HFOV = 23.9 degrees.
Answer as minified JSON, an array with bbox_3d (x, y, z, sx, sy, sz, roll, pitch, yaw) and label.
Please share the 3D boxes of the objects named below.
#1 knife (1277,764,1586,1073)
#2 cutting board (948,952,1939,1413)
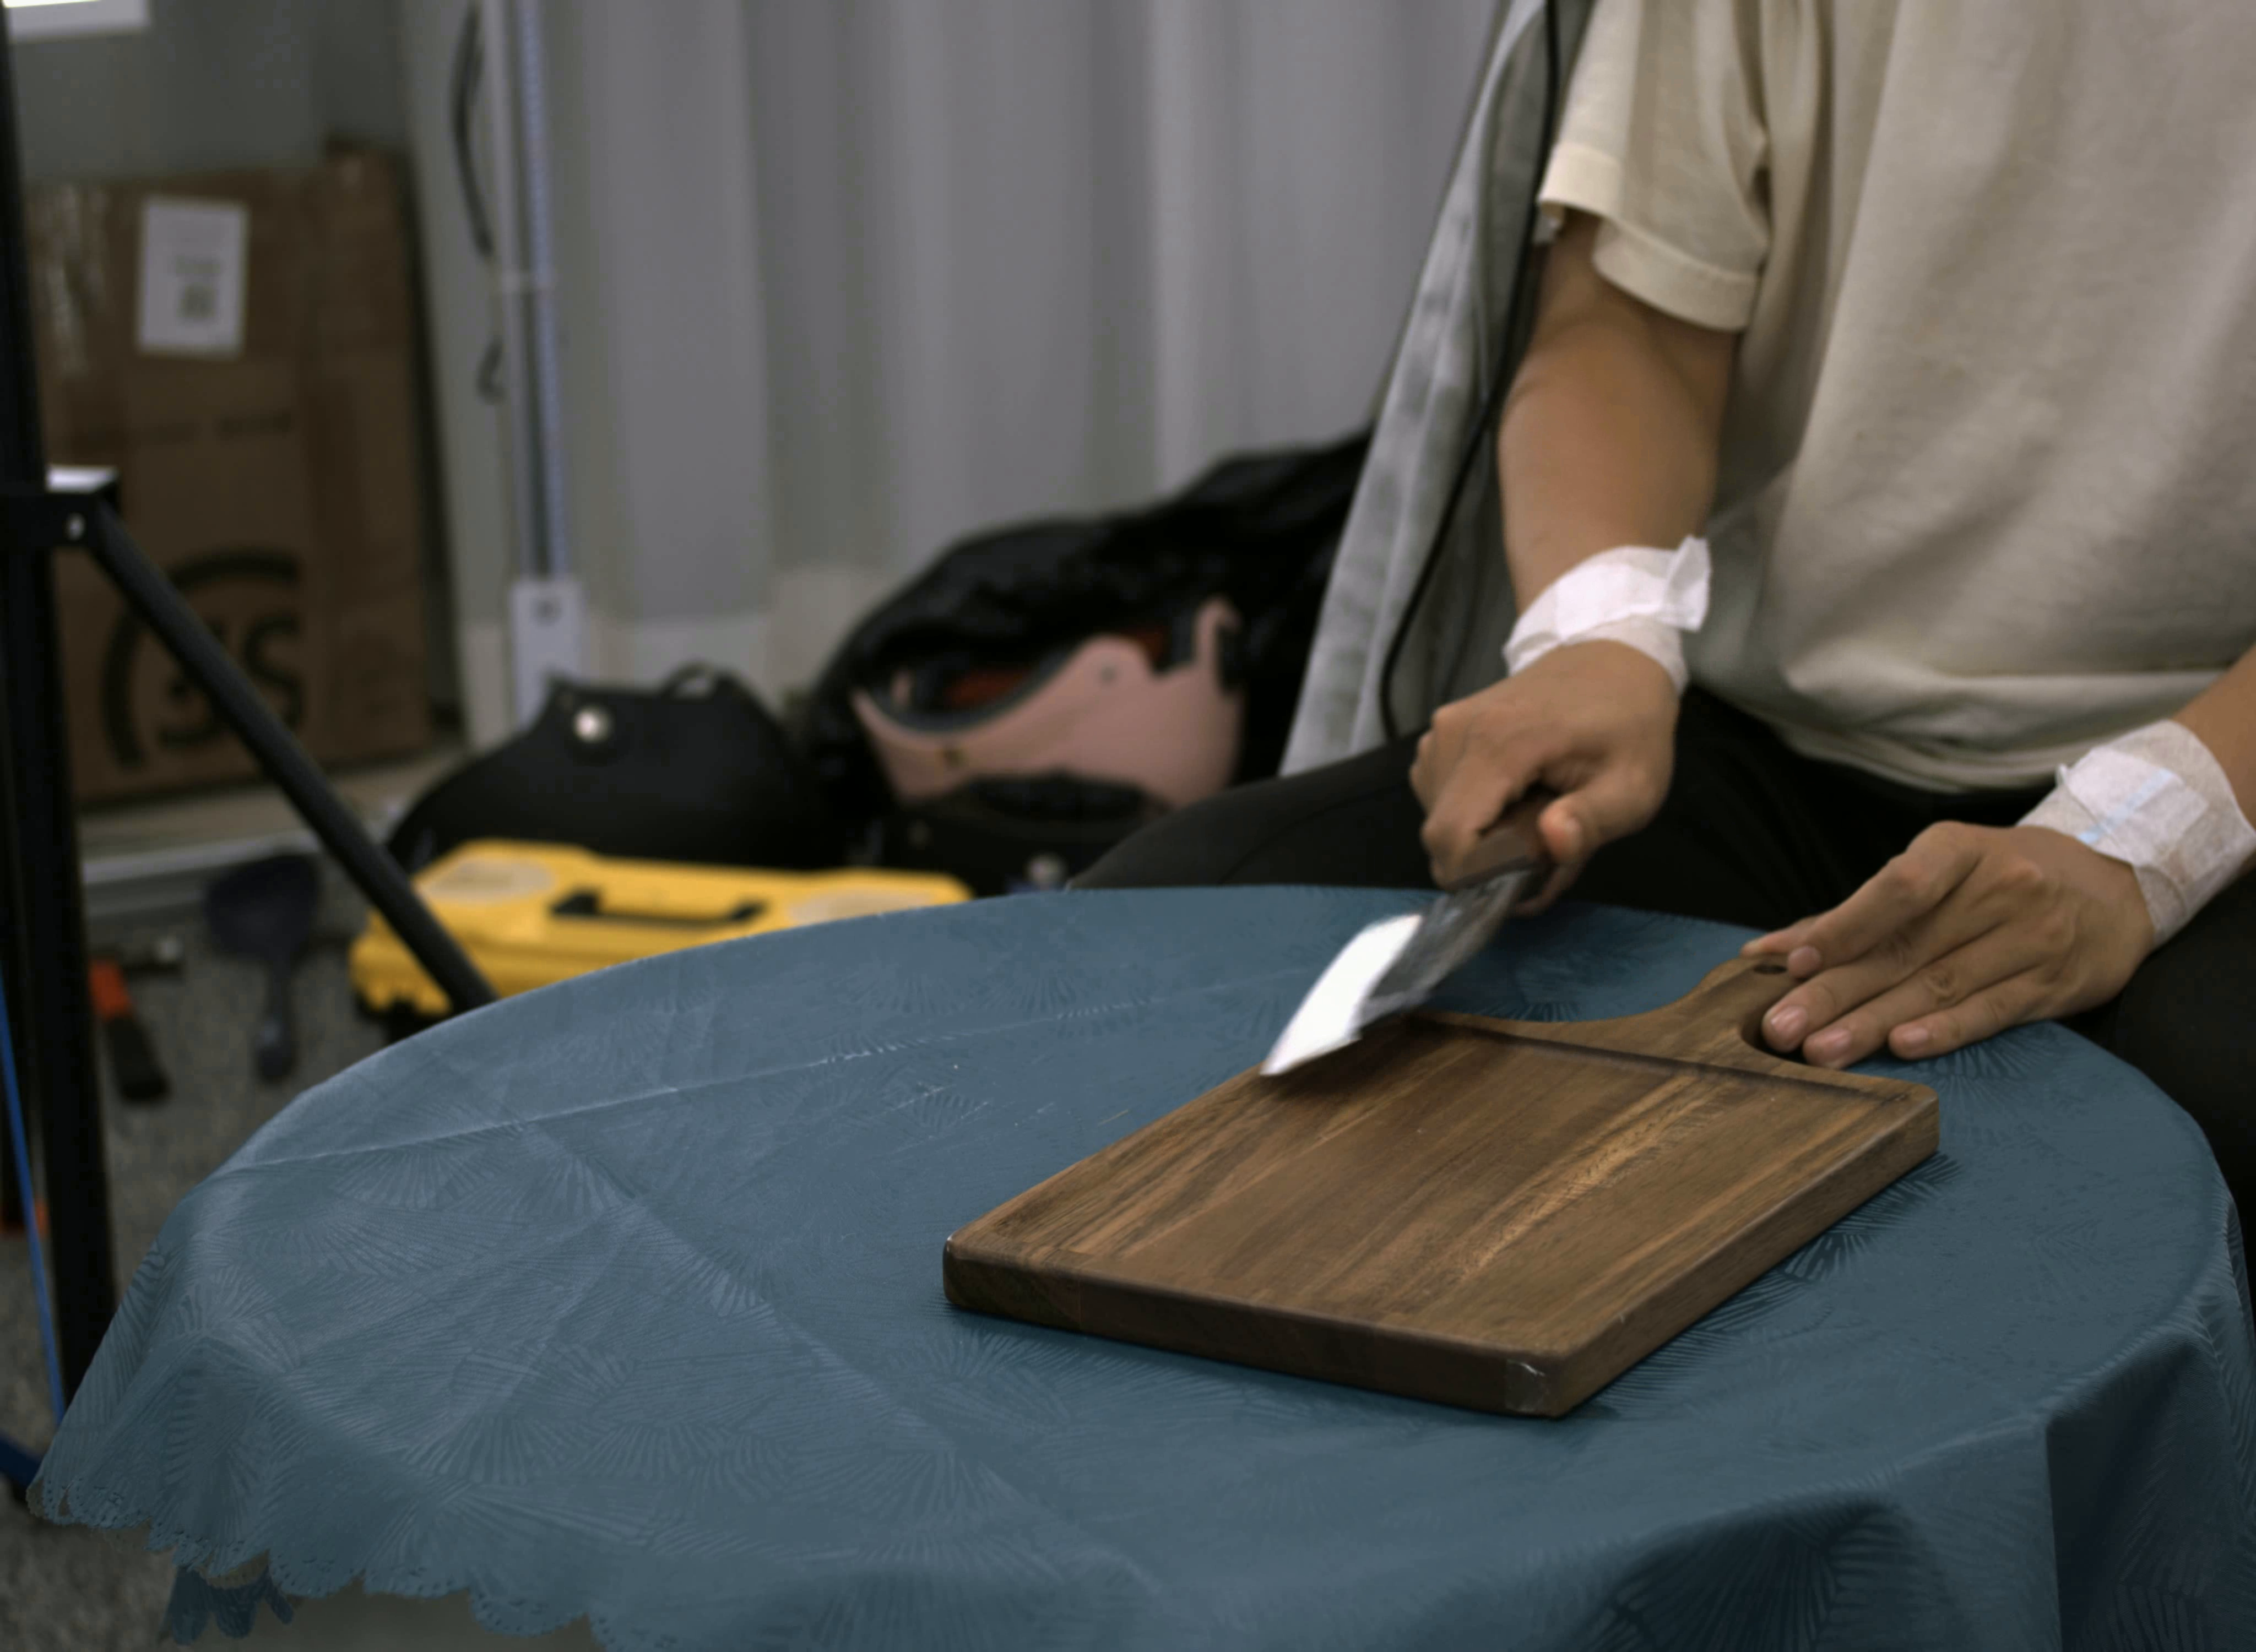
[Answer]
[{"bbox_3d":[0.100,0.031,1.717,0.068,0.024,0.297,-22,8,18],"label":"knife"},{"bbox_3d":[0.121,0.092,1.553,0.205,0.023,0.345,7,18,32],"label":"cutting board"}]
